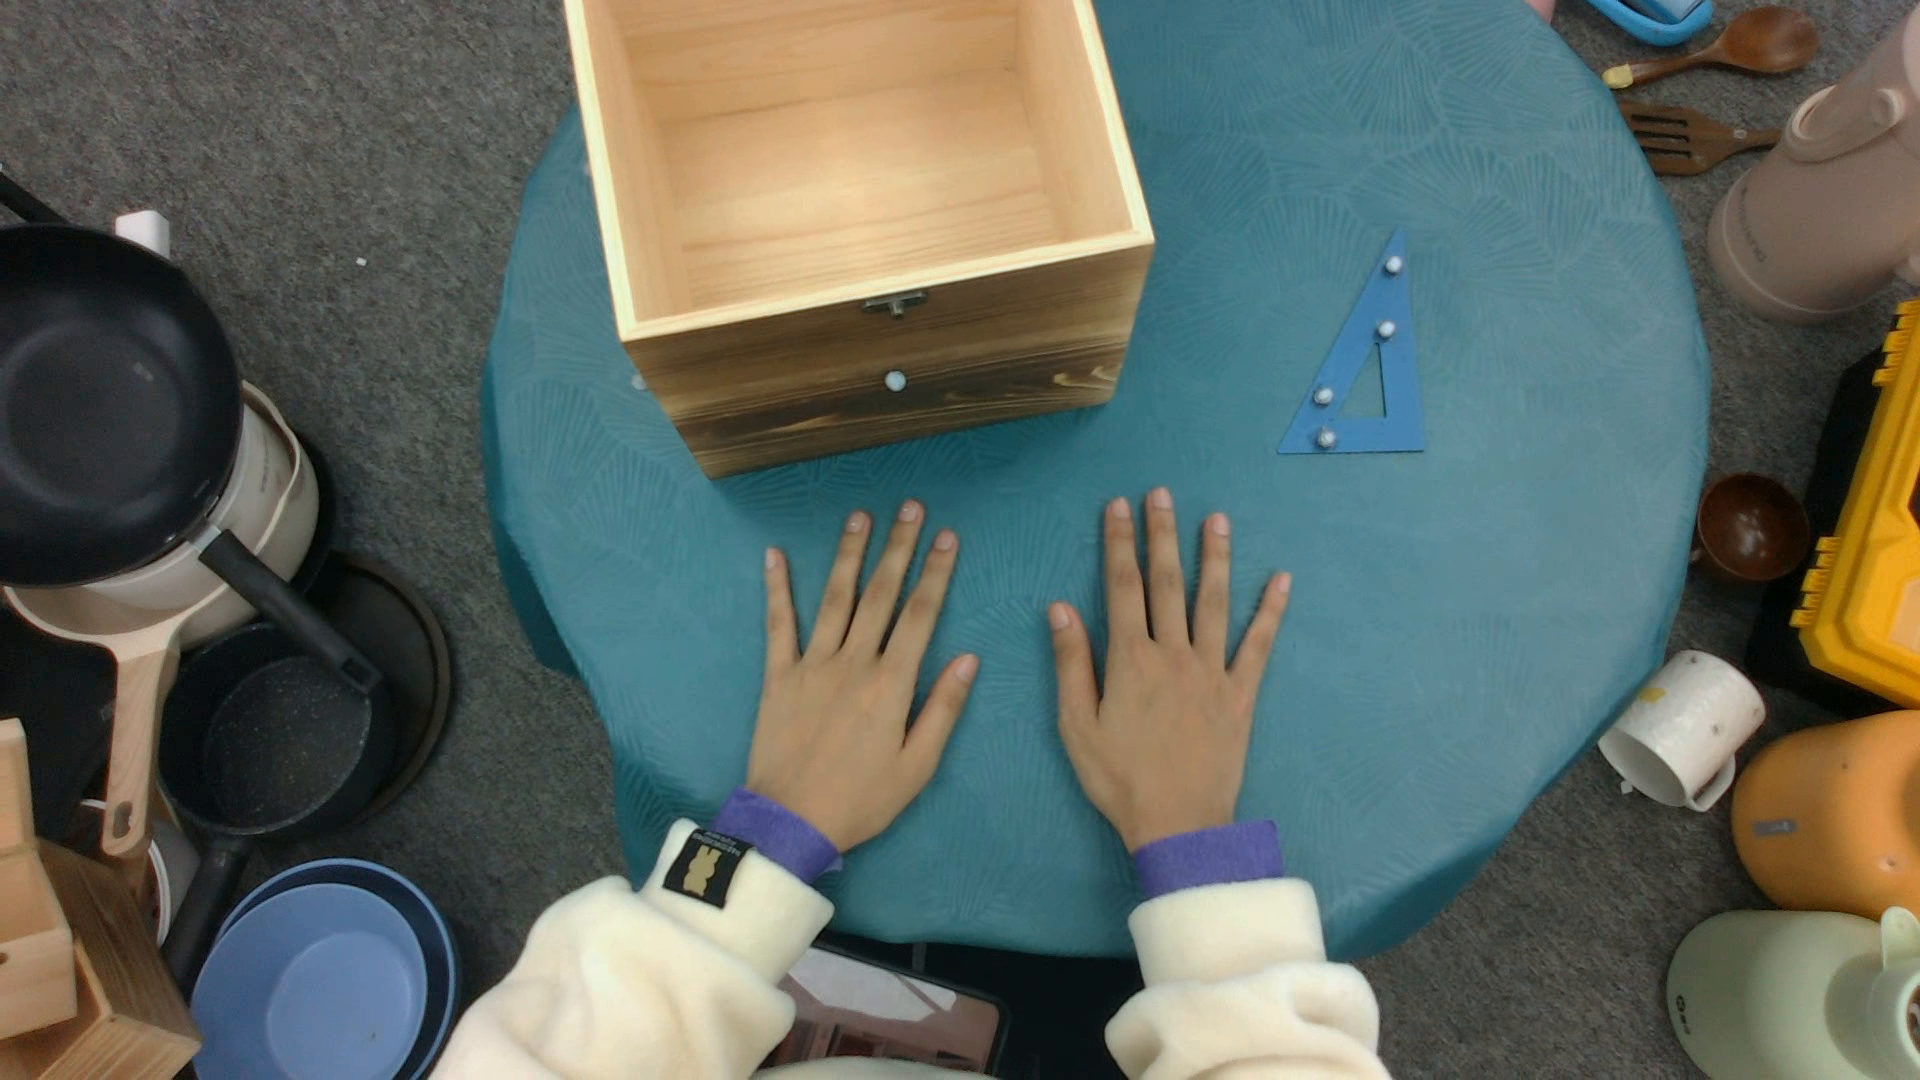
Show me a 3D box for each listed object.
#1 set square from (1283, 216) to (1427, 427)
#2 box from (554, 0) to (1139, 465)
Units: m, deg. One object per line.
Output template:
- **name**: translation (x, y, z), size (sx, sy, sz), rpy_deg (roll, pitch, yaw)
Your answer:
- **set square**: translation (0.216, -0.100, 0.681), size (0.061, 0.006, 0.132), rpy_deg (32, 77, 10)
- **box**: translation (-0.064, -0.243, 0.536), size (0.209, 0.374, 0.323), rpy_deg (-12, 75, -3)
